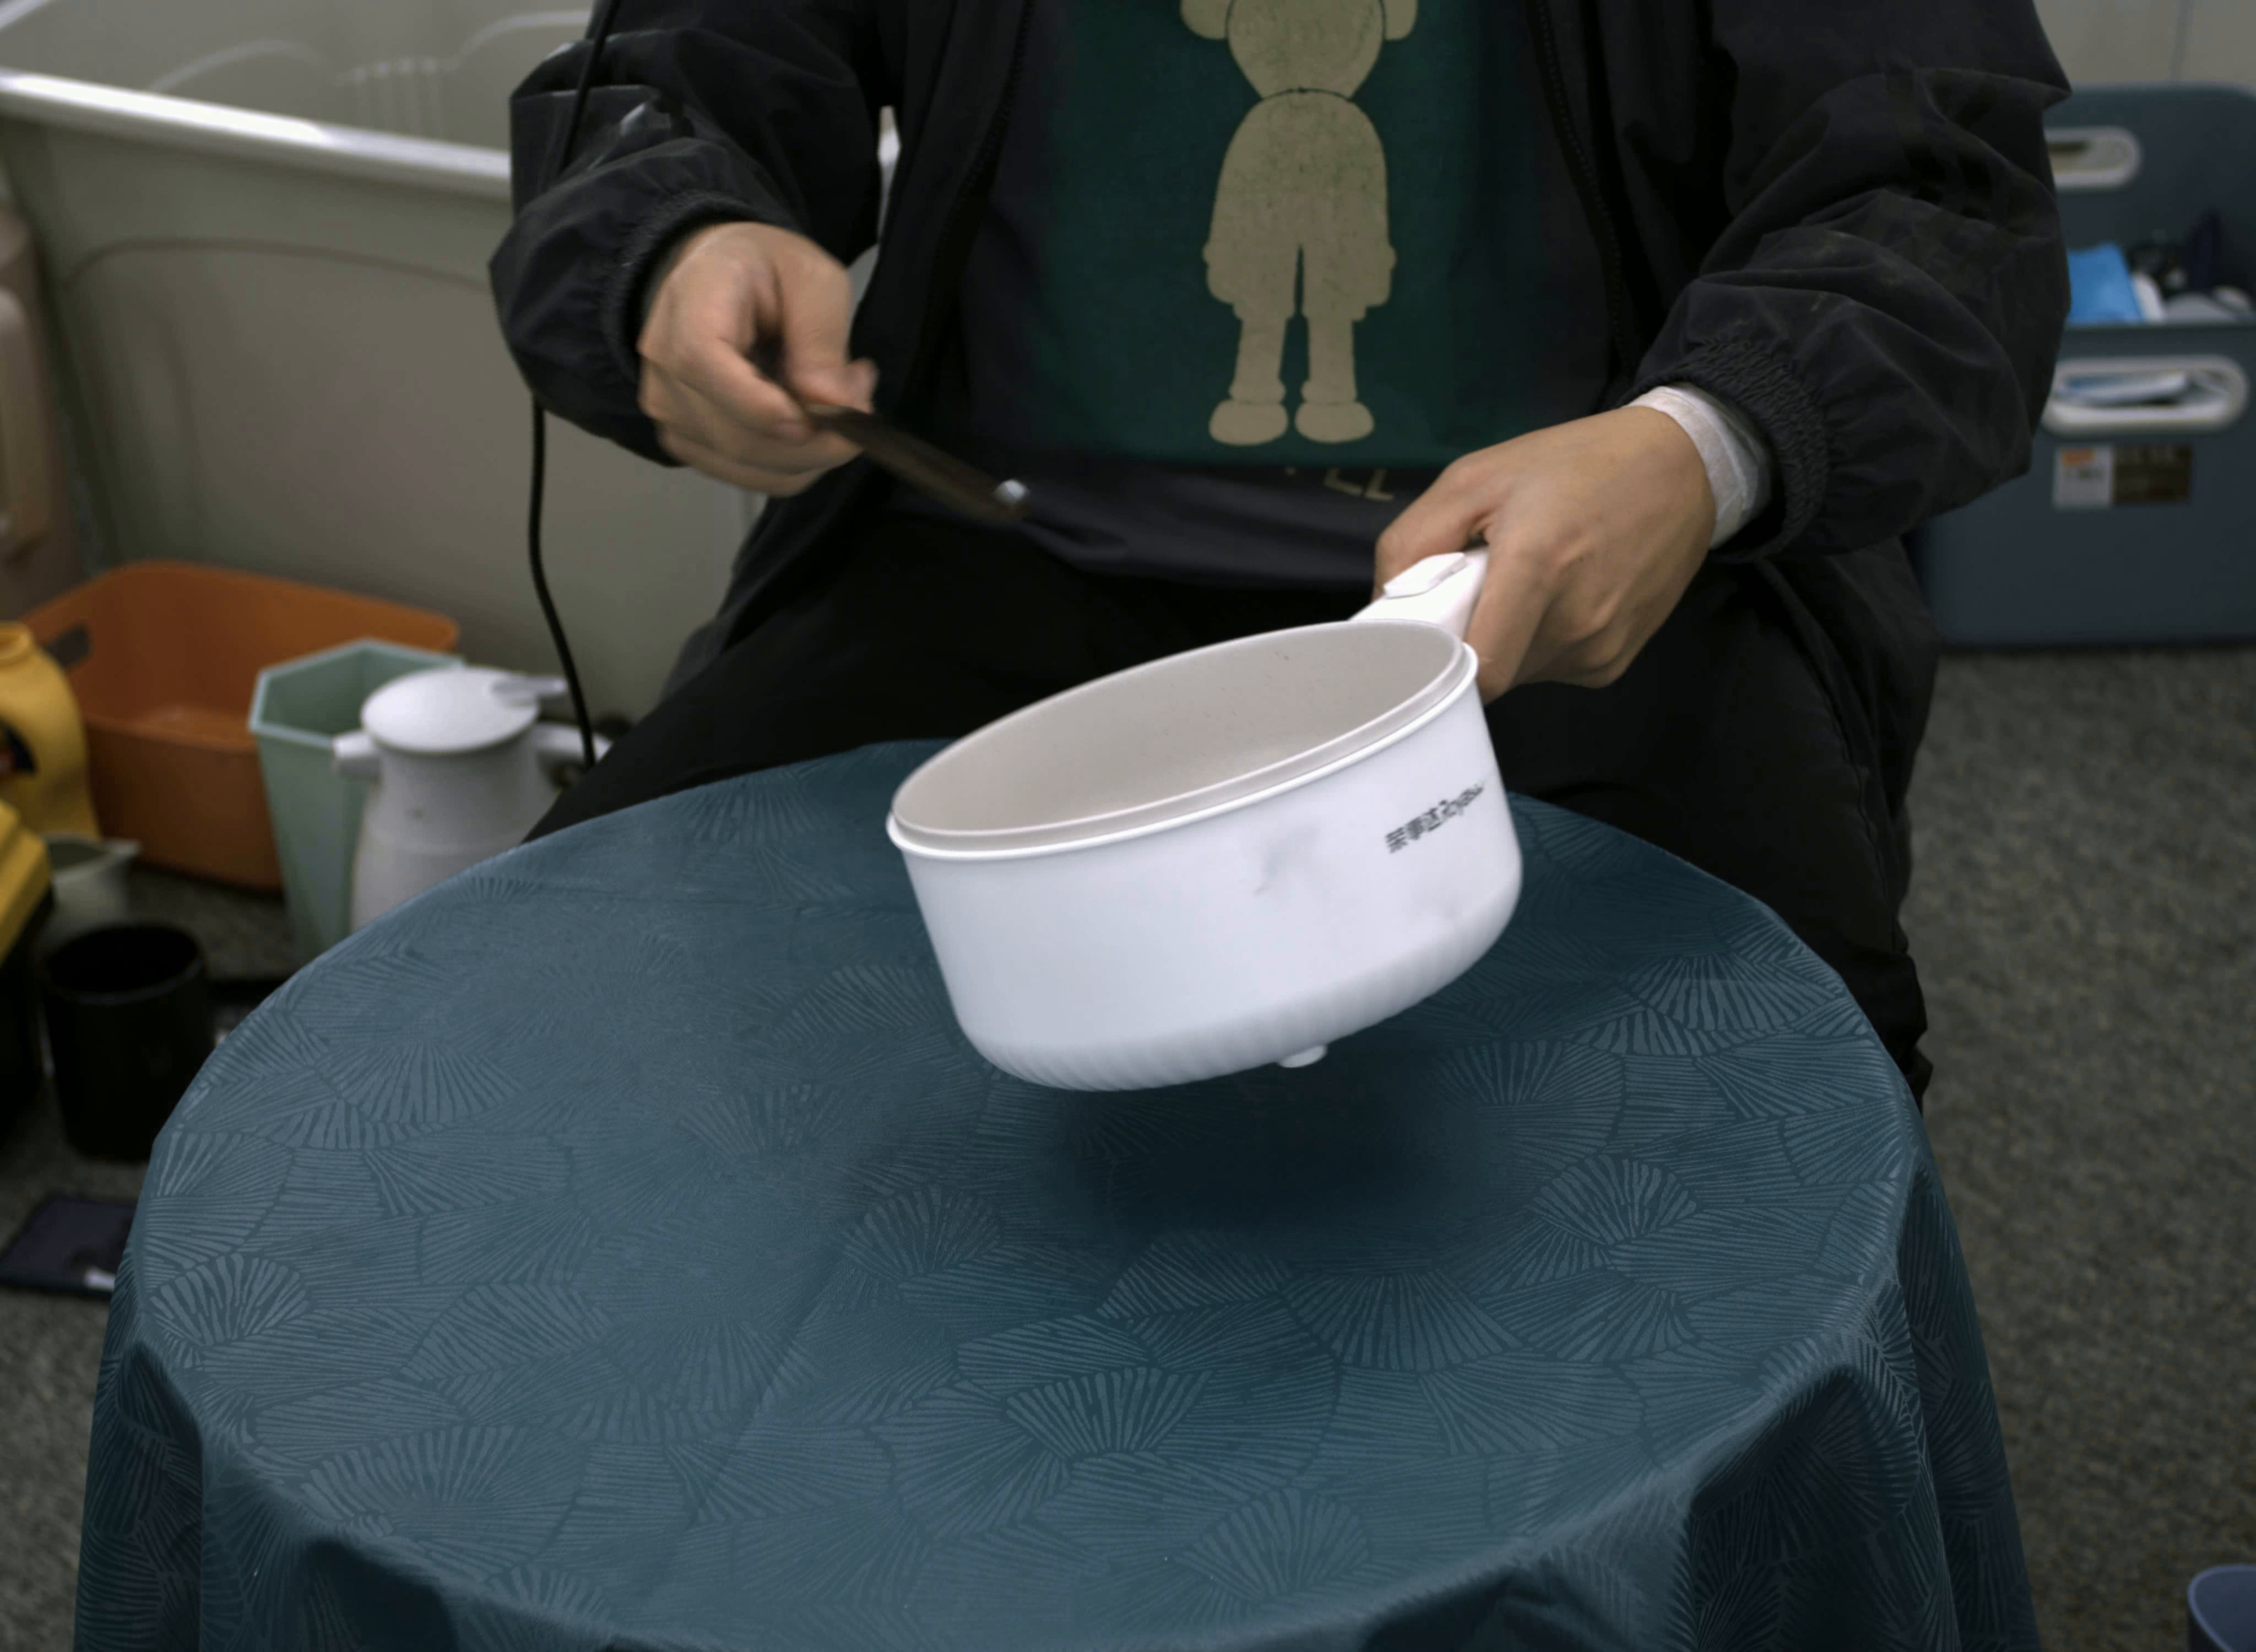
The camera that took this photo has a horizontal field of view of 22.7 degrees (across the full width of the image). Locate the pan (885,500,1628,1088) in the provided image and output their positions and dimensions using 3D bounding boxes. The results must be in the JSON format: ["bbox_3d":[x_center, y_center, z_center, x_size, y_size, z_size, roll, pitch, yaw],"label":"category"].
[{"bbox_3d":[0.071,-0.013,1.904,0.199,0.102,0.359,-6,15,37],"label":"pan"}]

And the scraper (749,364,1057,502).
[{"bbox_3d":[-0.088,-0.136,1.893,0.075,0.011,0.211,23,3,-23],"label":"scraper"}]
